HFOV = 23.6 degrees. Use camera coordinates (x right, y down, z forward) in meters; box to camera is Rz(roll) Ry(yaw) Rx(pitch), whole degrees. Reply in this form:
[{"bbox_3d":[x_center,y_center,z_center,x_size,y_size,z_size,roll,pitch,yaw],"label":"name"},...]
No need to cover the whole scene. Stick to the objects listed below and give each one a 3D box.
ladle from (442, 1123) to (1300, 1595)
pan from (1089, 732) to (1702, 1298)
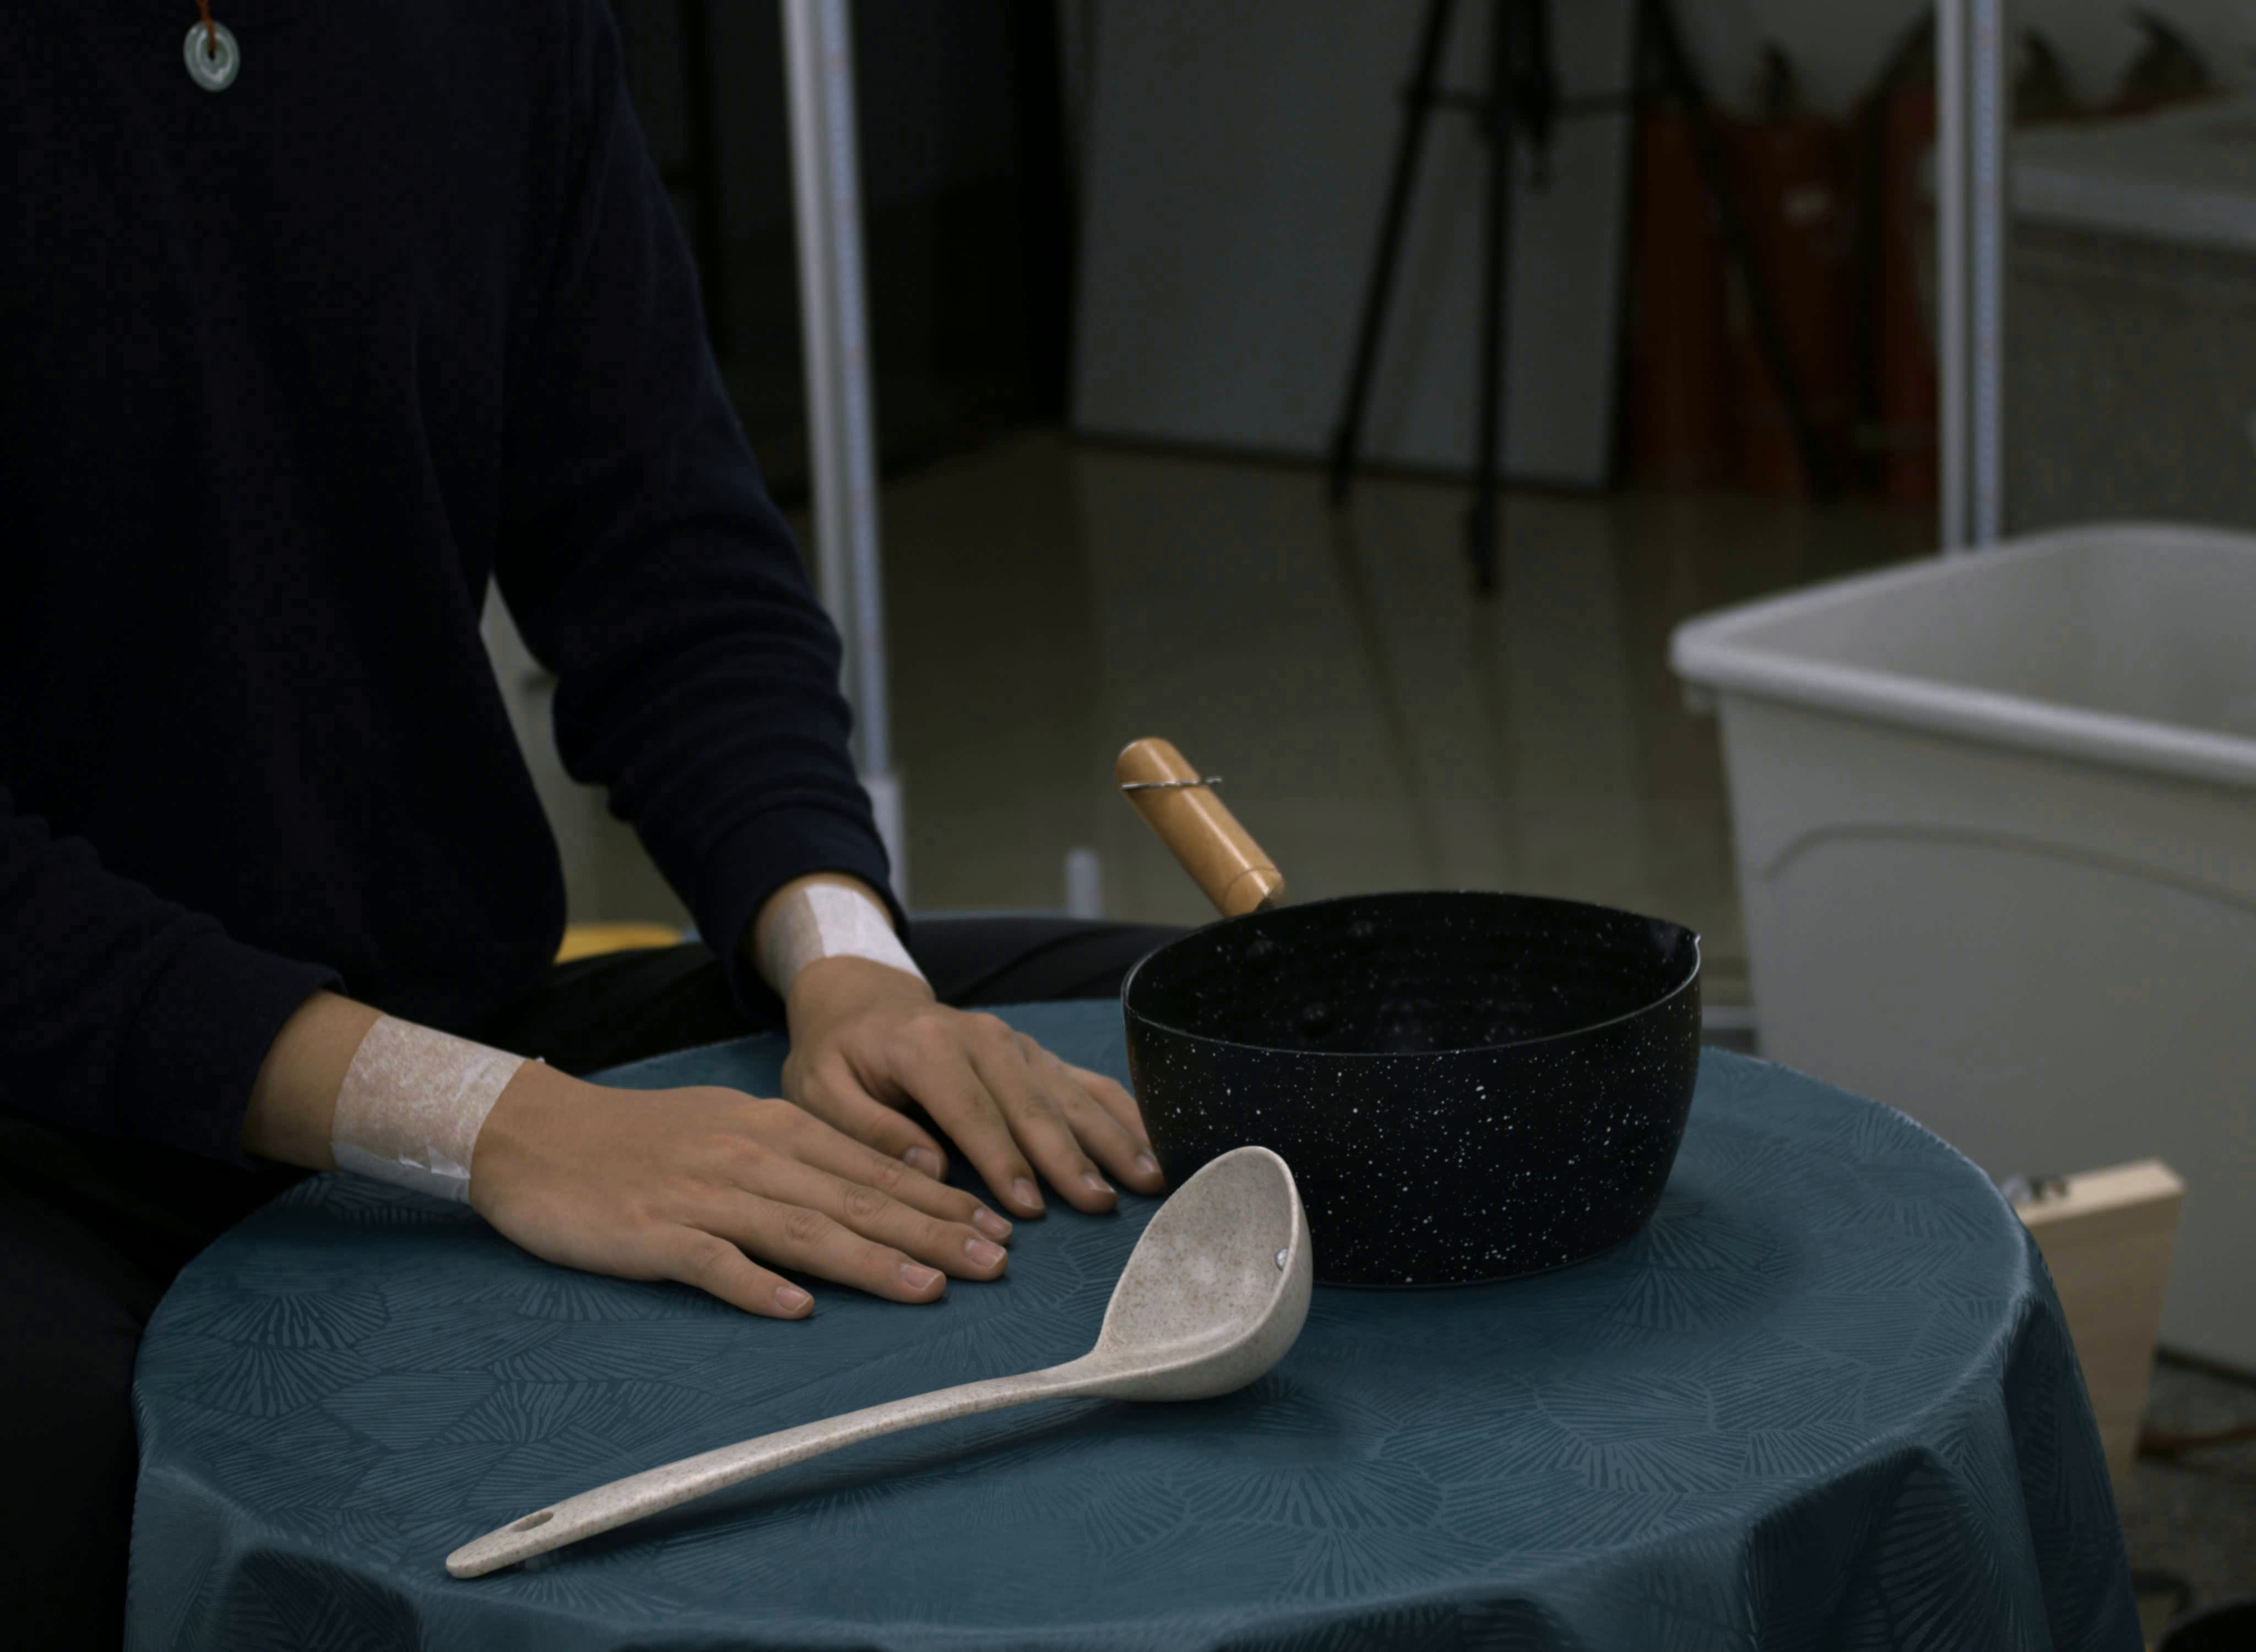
[{"bbox_3d":[-0.074,0.148,1.532,0.269,0.070,0.090,-13,2,-25],"label":"ladle"},{"bbox_3d":[0.064,0.057,1.785,0.203,0.109,0.346,-10,16,-18],"label":"pan"}]
